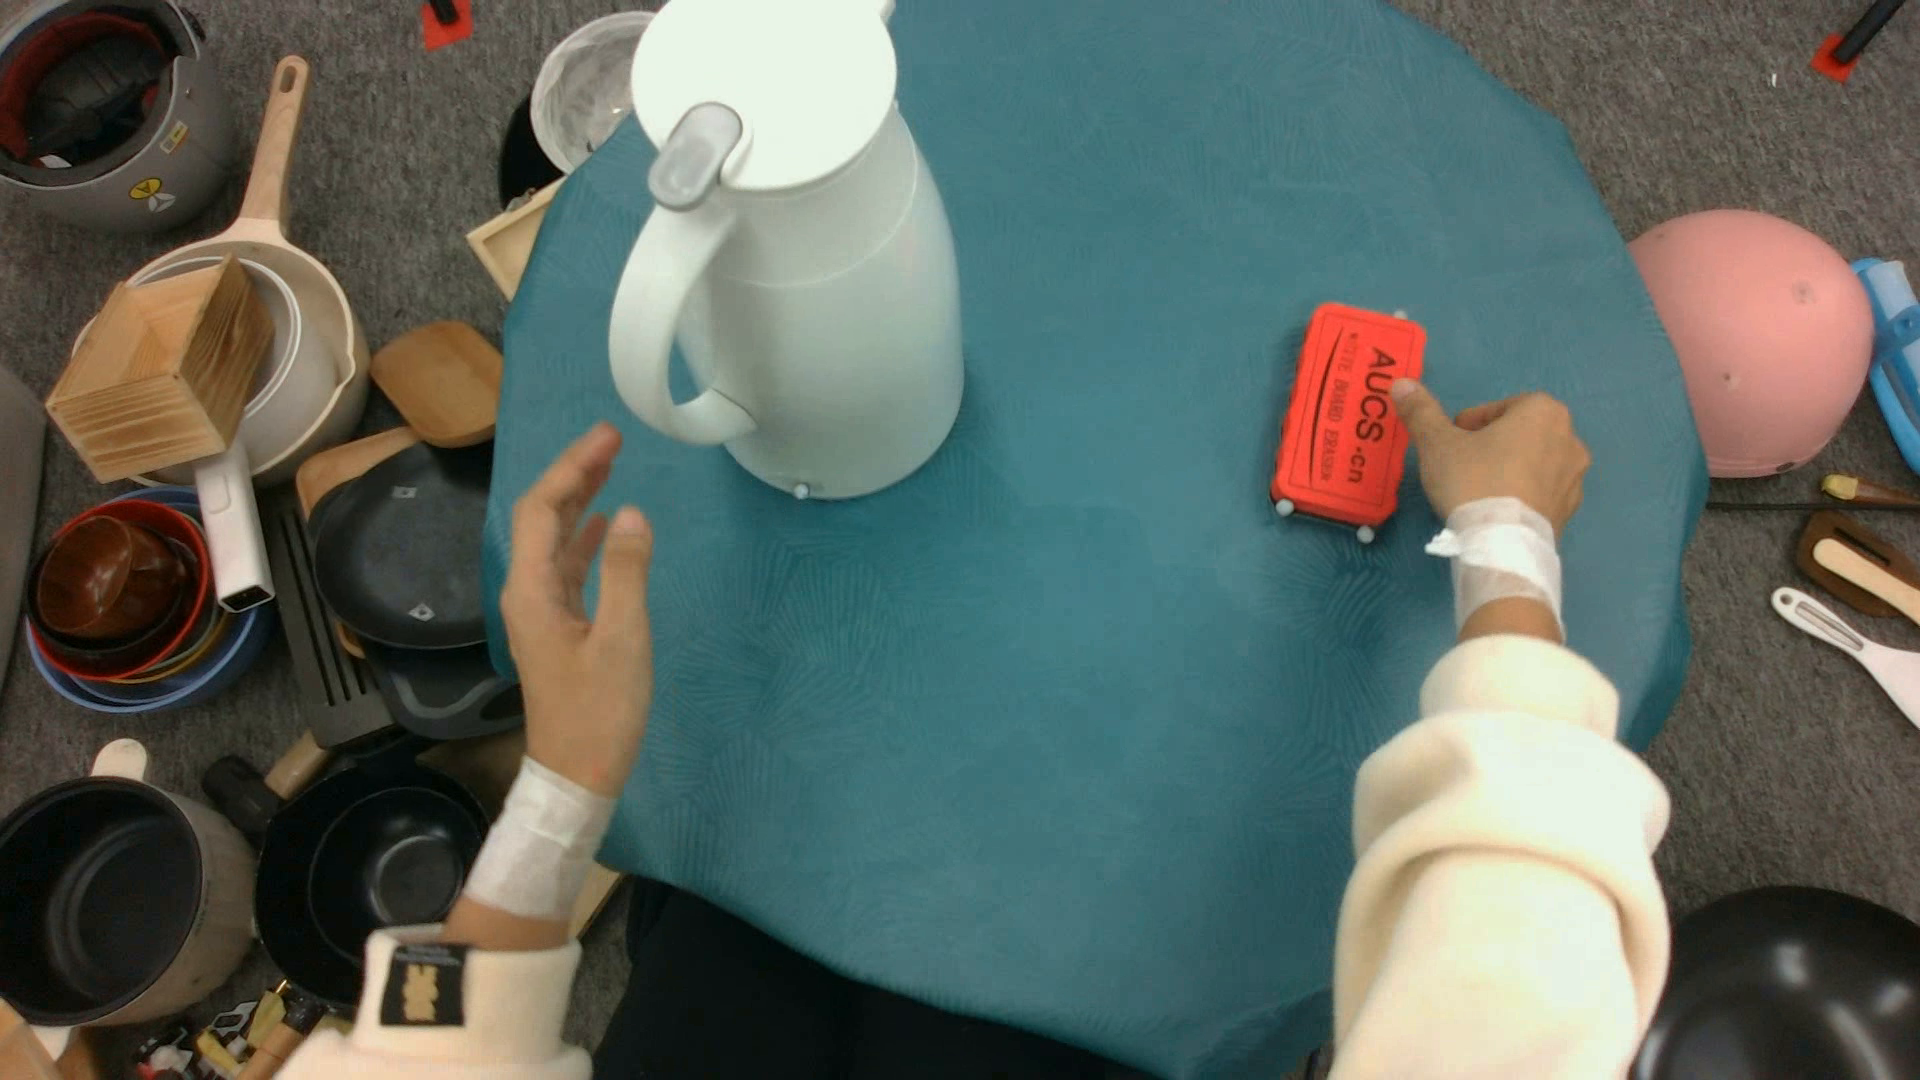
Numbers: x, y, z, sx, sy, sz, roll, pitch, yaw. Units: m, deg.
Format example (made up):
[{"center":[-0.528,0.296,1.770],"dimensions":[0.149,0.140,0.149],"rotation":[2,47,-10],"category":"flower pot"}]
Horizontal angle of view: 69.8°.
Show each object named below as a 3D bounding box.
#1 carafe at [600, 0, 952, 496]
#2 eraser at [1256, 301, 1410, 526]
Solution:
[{"center":[-0.080,-0.107,0.579],"dimensions":[0.132,0.248,0.168],"rotation":[31,74,10],"category":"carafe"},{"center":[0.186,-0.063,0.685],"dimensions":[0.059,0.023,0.108],"rotation":[14,71,7],"category":"eraser"}]
